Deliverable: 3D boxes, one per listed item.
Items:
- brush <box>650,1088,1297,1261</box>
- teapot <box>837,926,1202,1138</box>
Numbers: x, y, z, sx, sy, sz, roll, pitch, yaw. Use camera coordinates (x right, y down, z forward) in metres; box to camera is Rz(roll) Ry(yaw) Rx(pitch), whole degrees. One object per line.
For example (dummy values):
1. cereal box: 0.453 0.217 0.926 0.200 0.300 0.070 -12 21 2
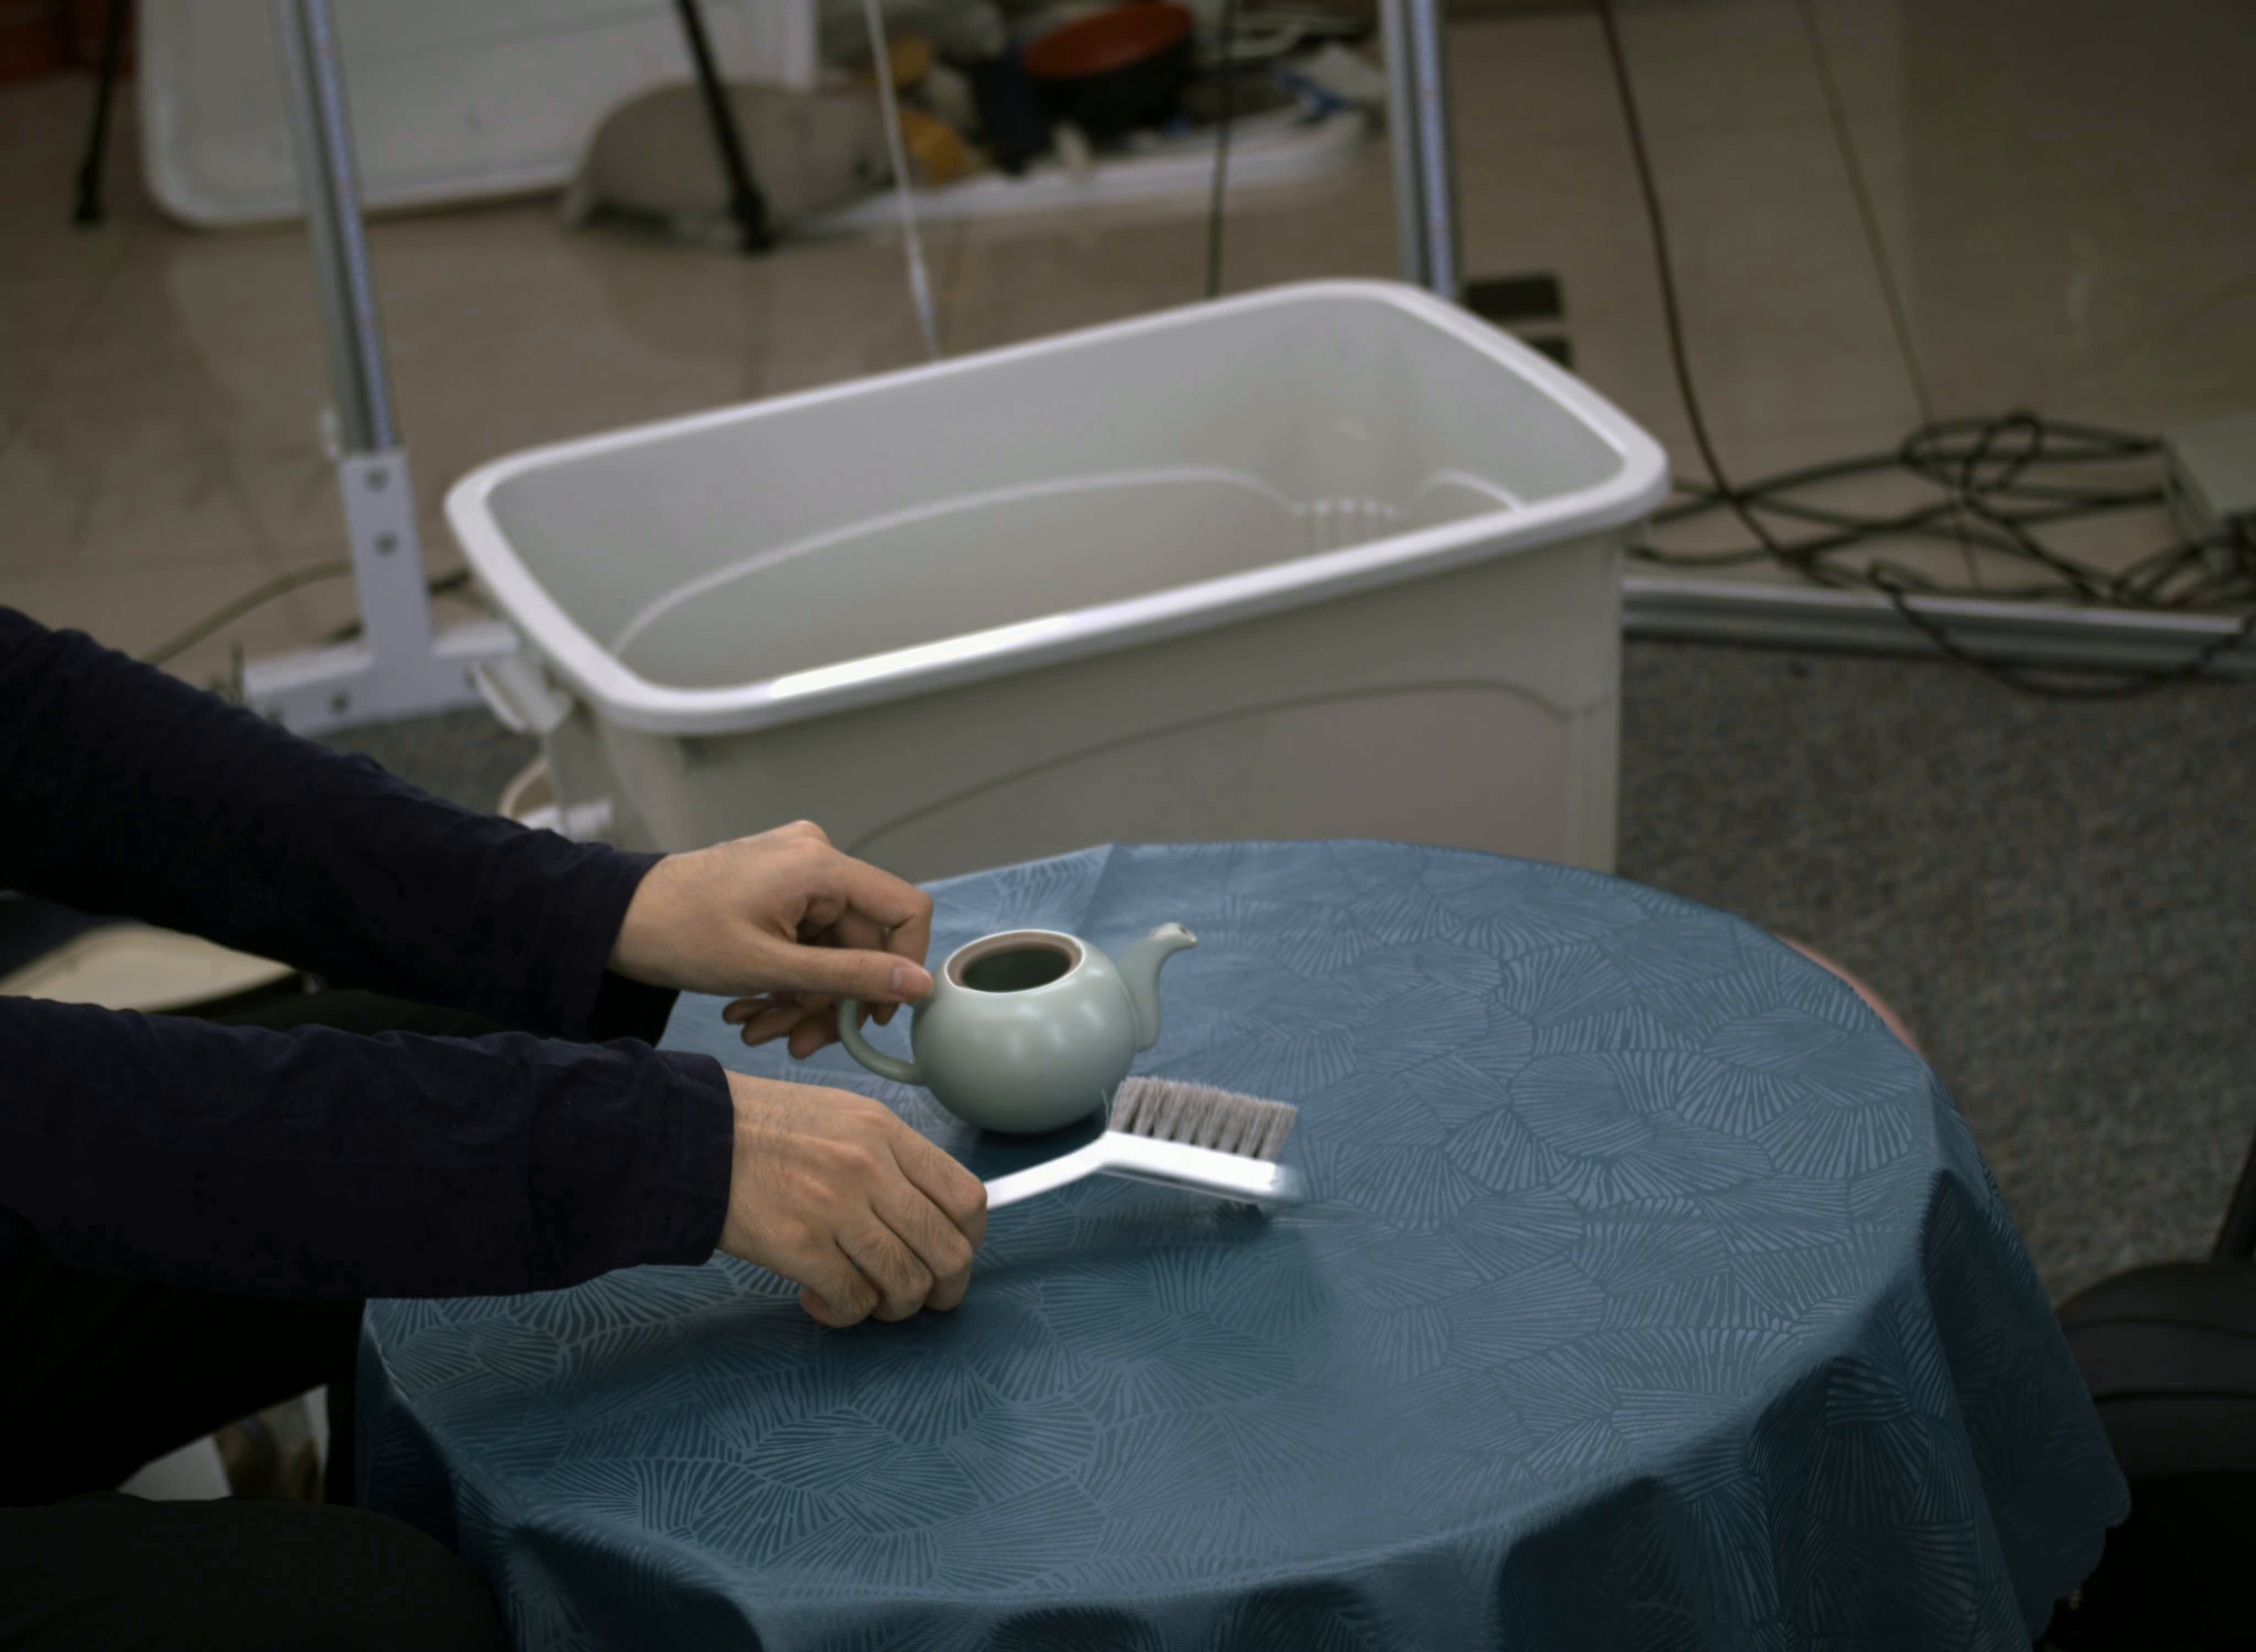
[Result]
1. brush: -0.058 0.128 2.104 0.243 0.050 0.034 -5 1 -5
2. teapot: -0.040 0.080 2.200 0.143 0.076 0.087 -5 26 -1
